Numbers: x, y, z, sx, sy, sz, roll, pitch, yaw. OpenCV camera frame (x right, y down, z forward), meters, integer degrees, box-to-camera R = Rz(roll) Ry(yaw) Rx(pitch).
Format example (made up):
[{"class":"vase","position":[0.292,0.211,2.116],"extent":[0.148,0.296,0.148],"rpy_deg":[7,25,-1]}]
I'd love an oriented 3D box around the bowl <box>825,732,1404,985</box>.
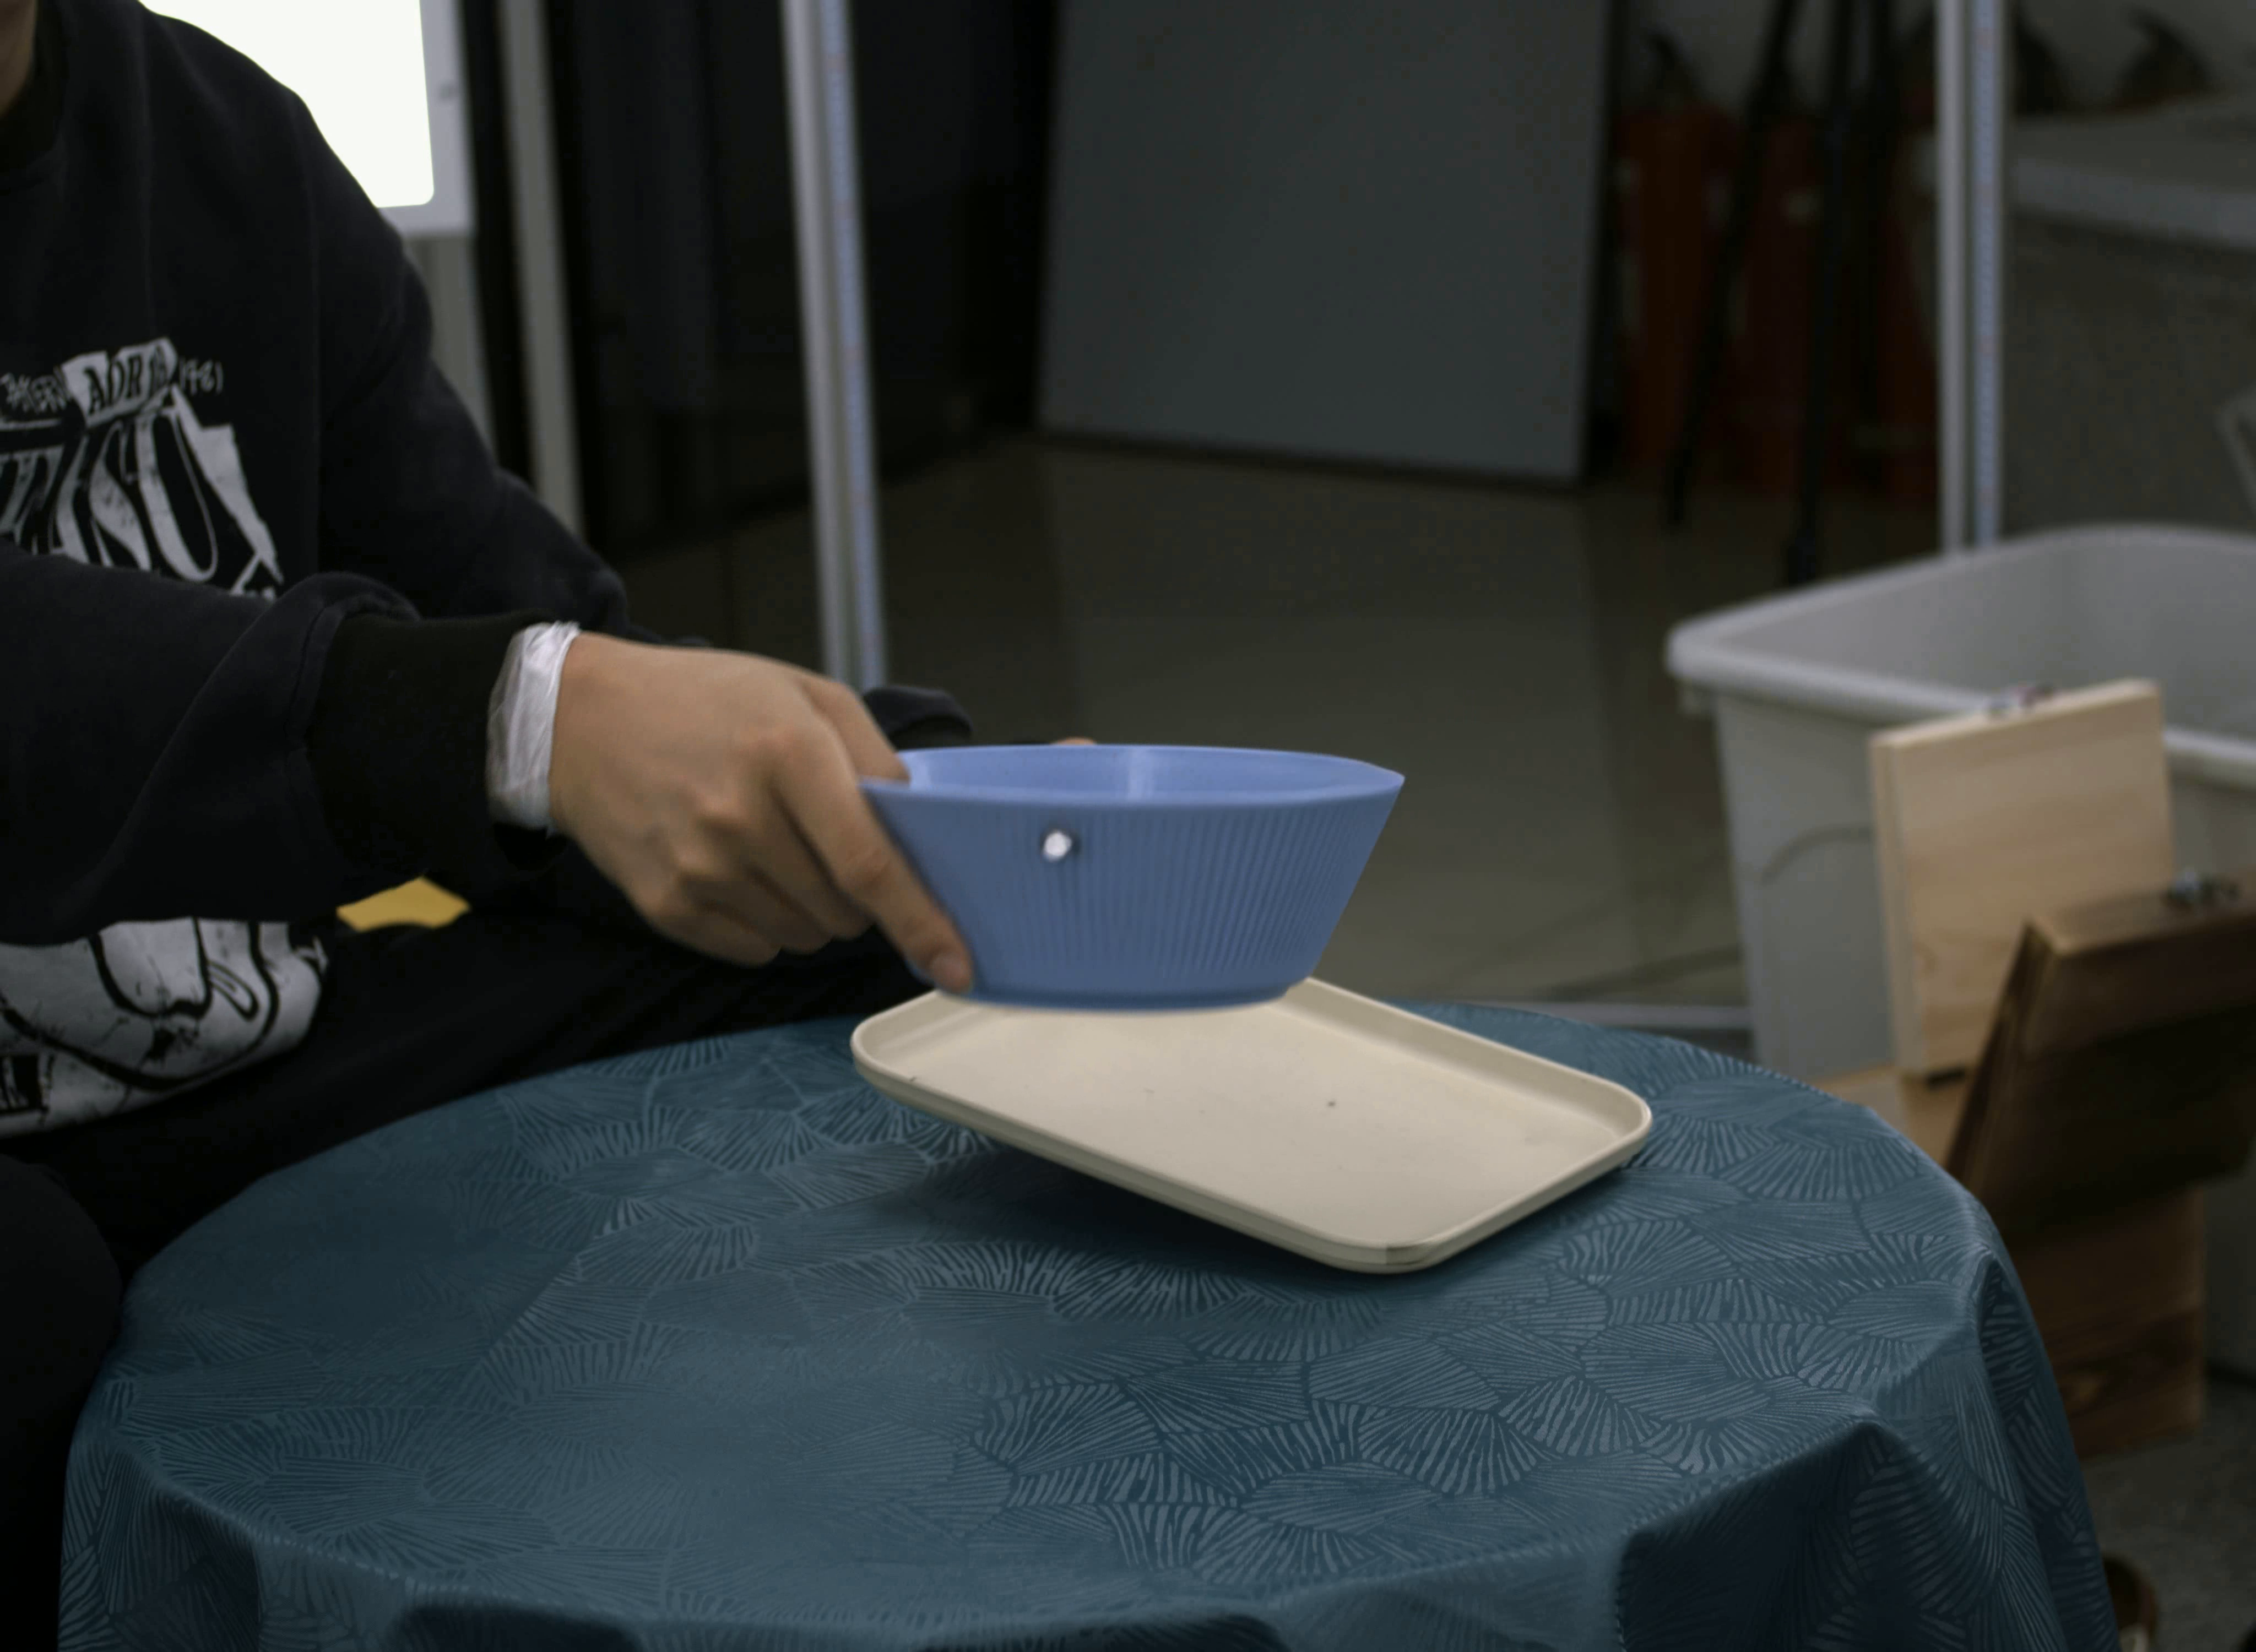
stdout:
[{"class":"bowl","position":[-0.005,0.009,1.617],"extent":[0.173,0.071,0.176],"rpy_deg":[2,4,-1]}]

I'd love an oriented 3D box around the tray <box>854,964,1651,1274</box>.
[{"class":"tray","position":[0.040,0.089,1.777],"extent":[0.241,0.017,0.168],"rpy_deg":[18,24,35]}]
